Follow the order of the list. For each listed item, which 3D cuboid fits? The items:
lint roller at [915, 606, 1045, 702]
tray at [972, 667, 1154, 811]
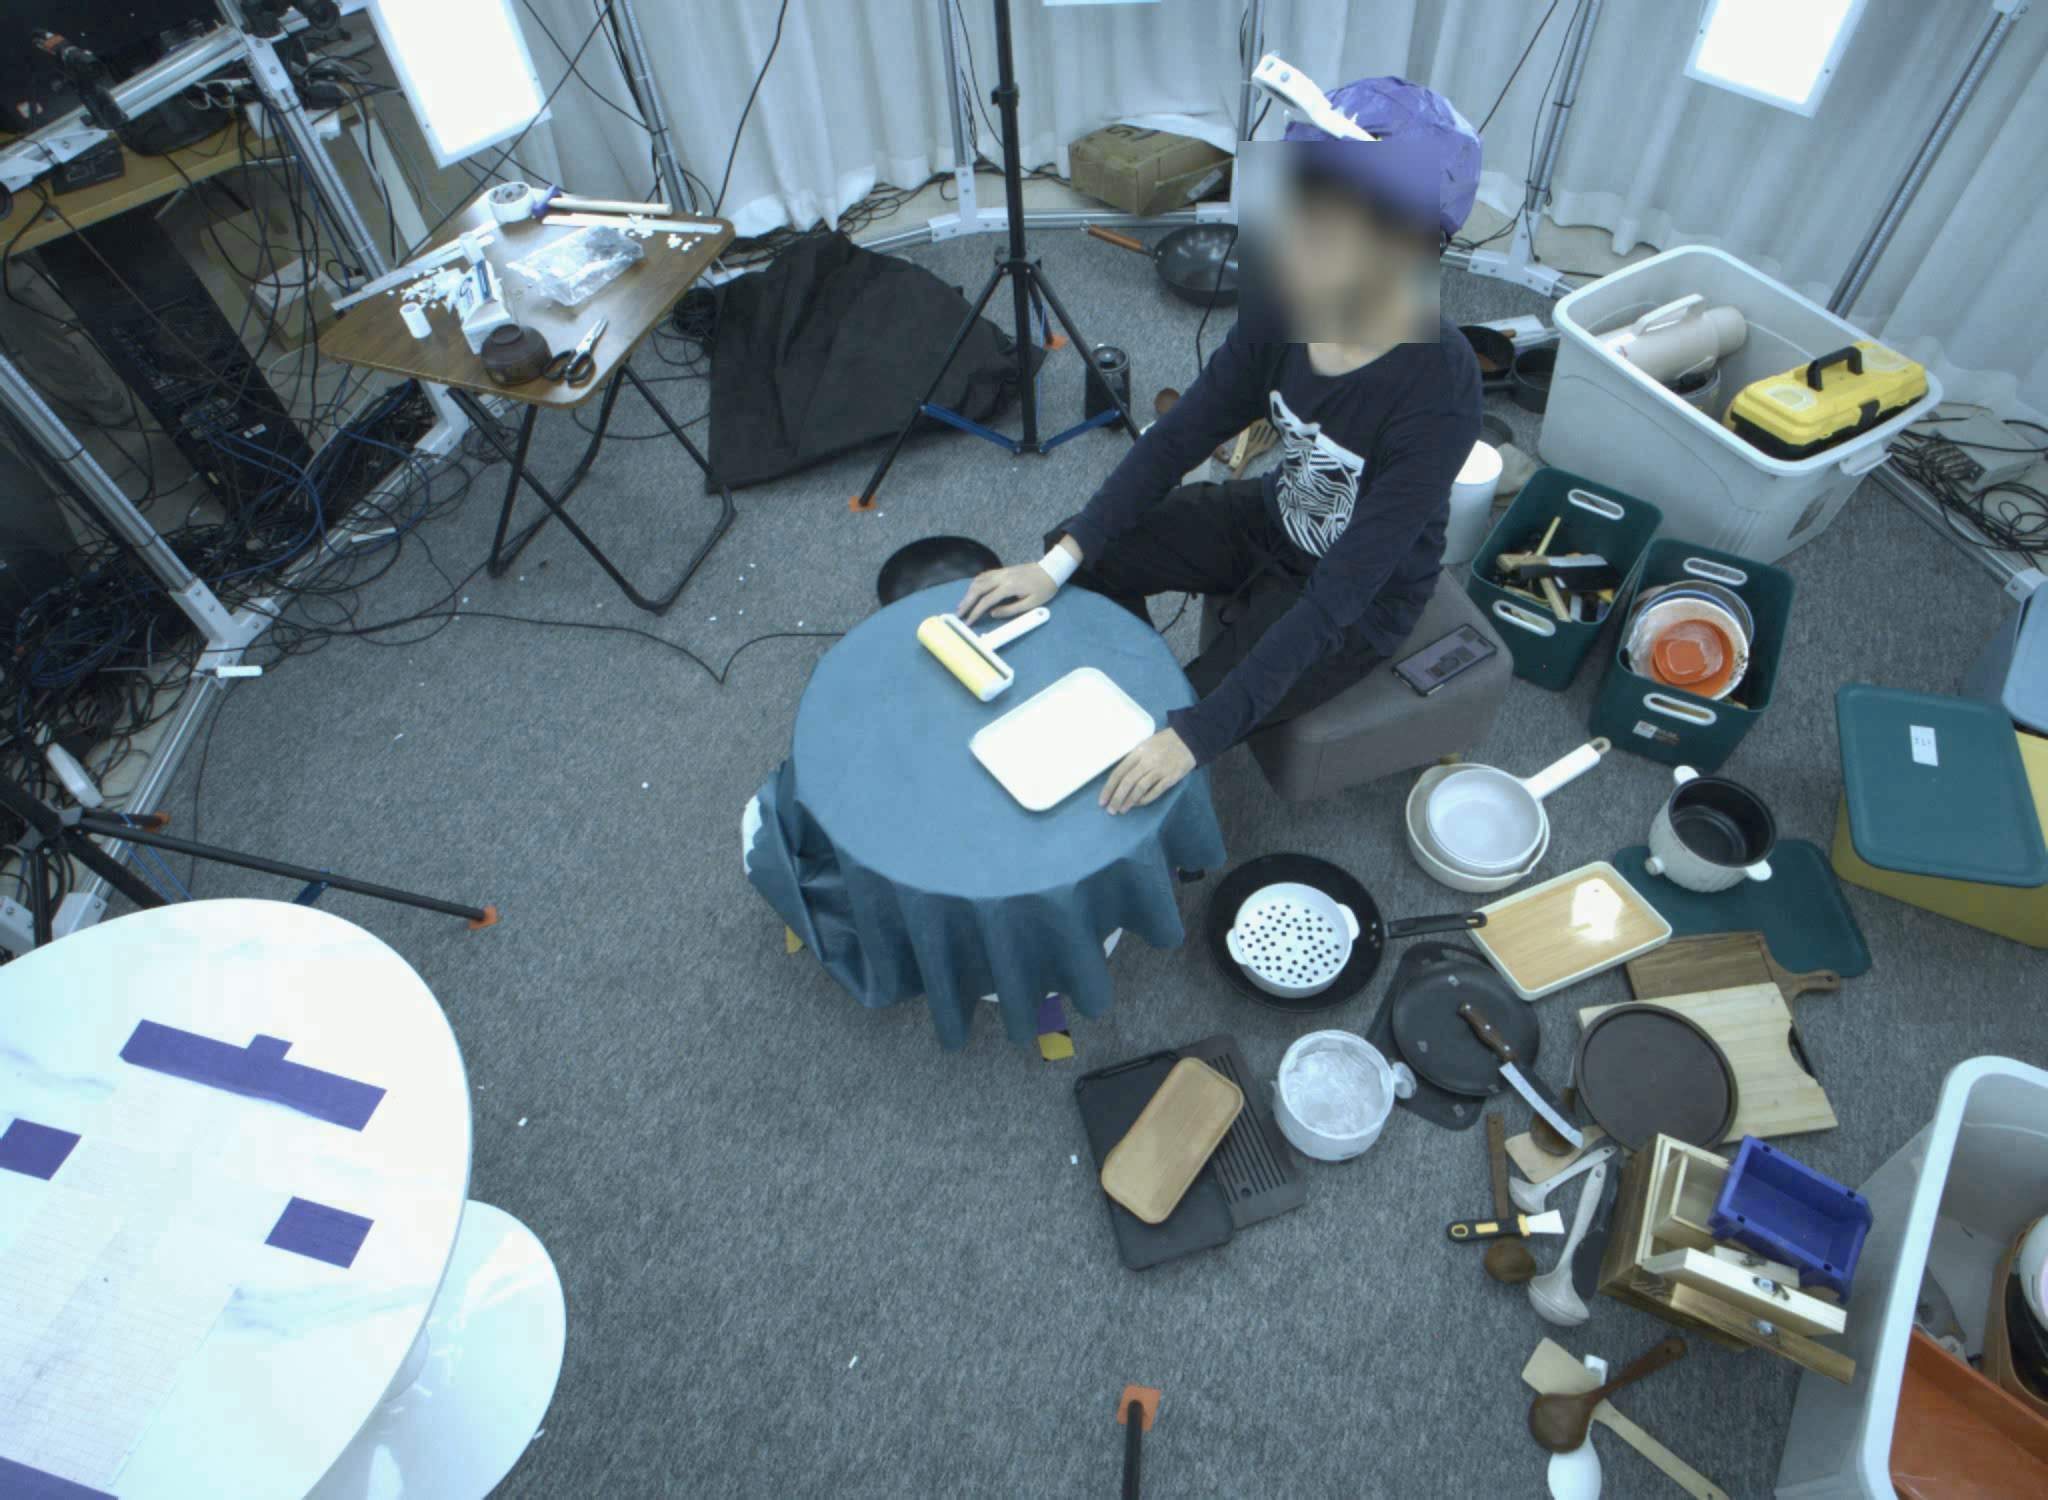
[{"bbox_3d":[-0.044,-0.179,1.895,0.193,0.052,0.171,-37,63,-19],"label":"lint roller"},{"bbox_3d":[0.057,-0.018,1.796,0.241,0.017,0.168,-33,61,-21],"label":"tray"}]
